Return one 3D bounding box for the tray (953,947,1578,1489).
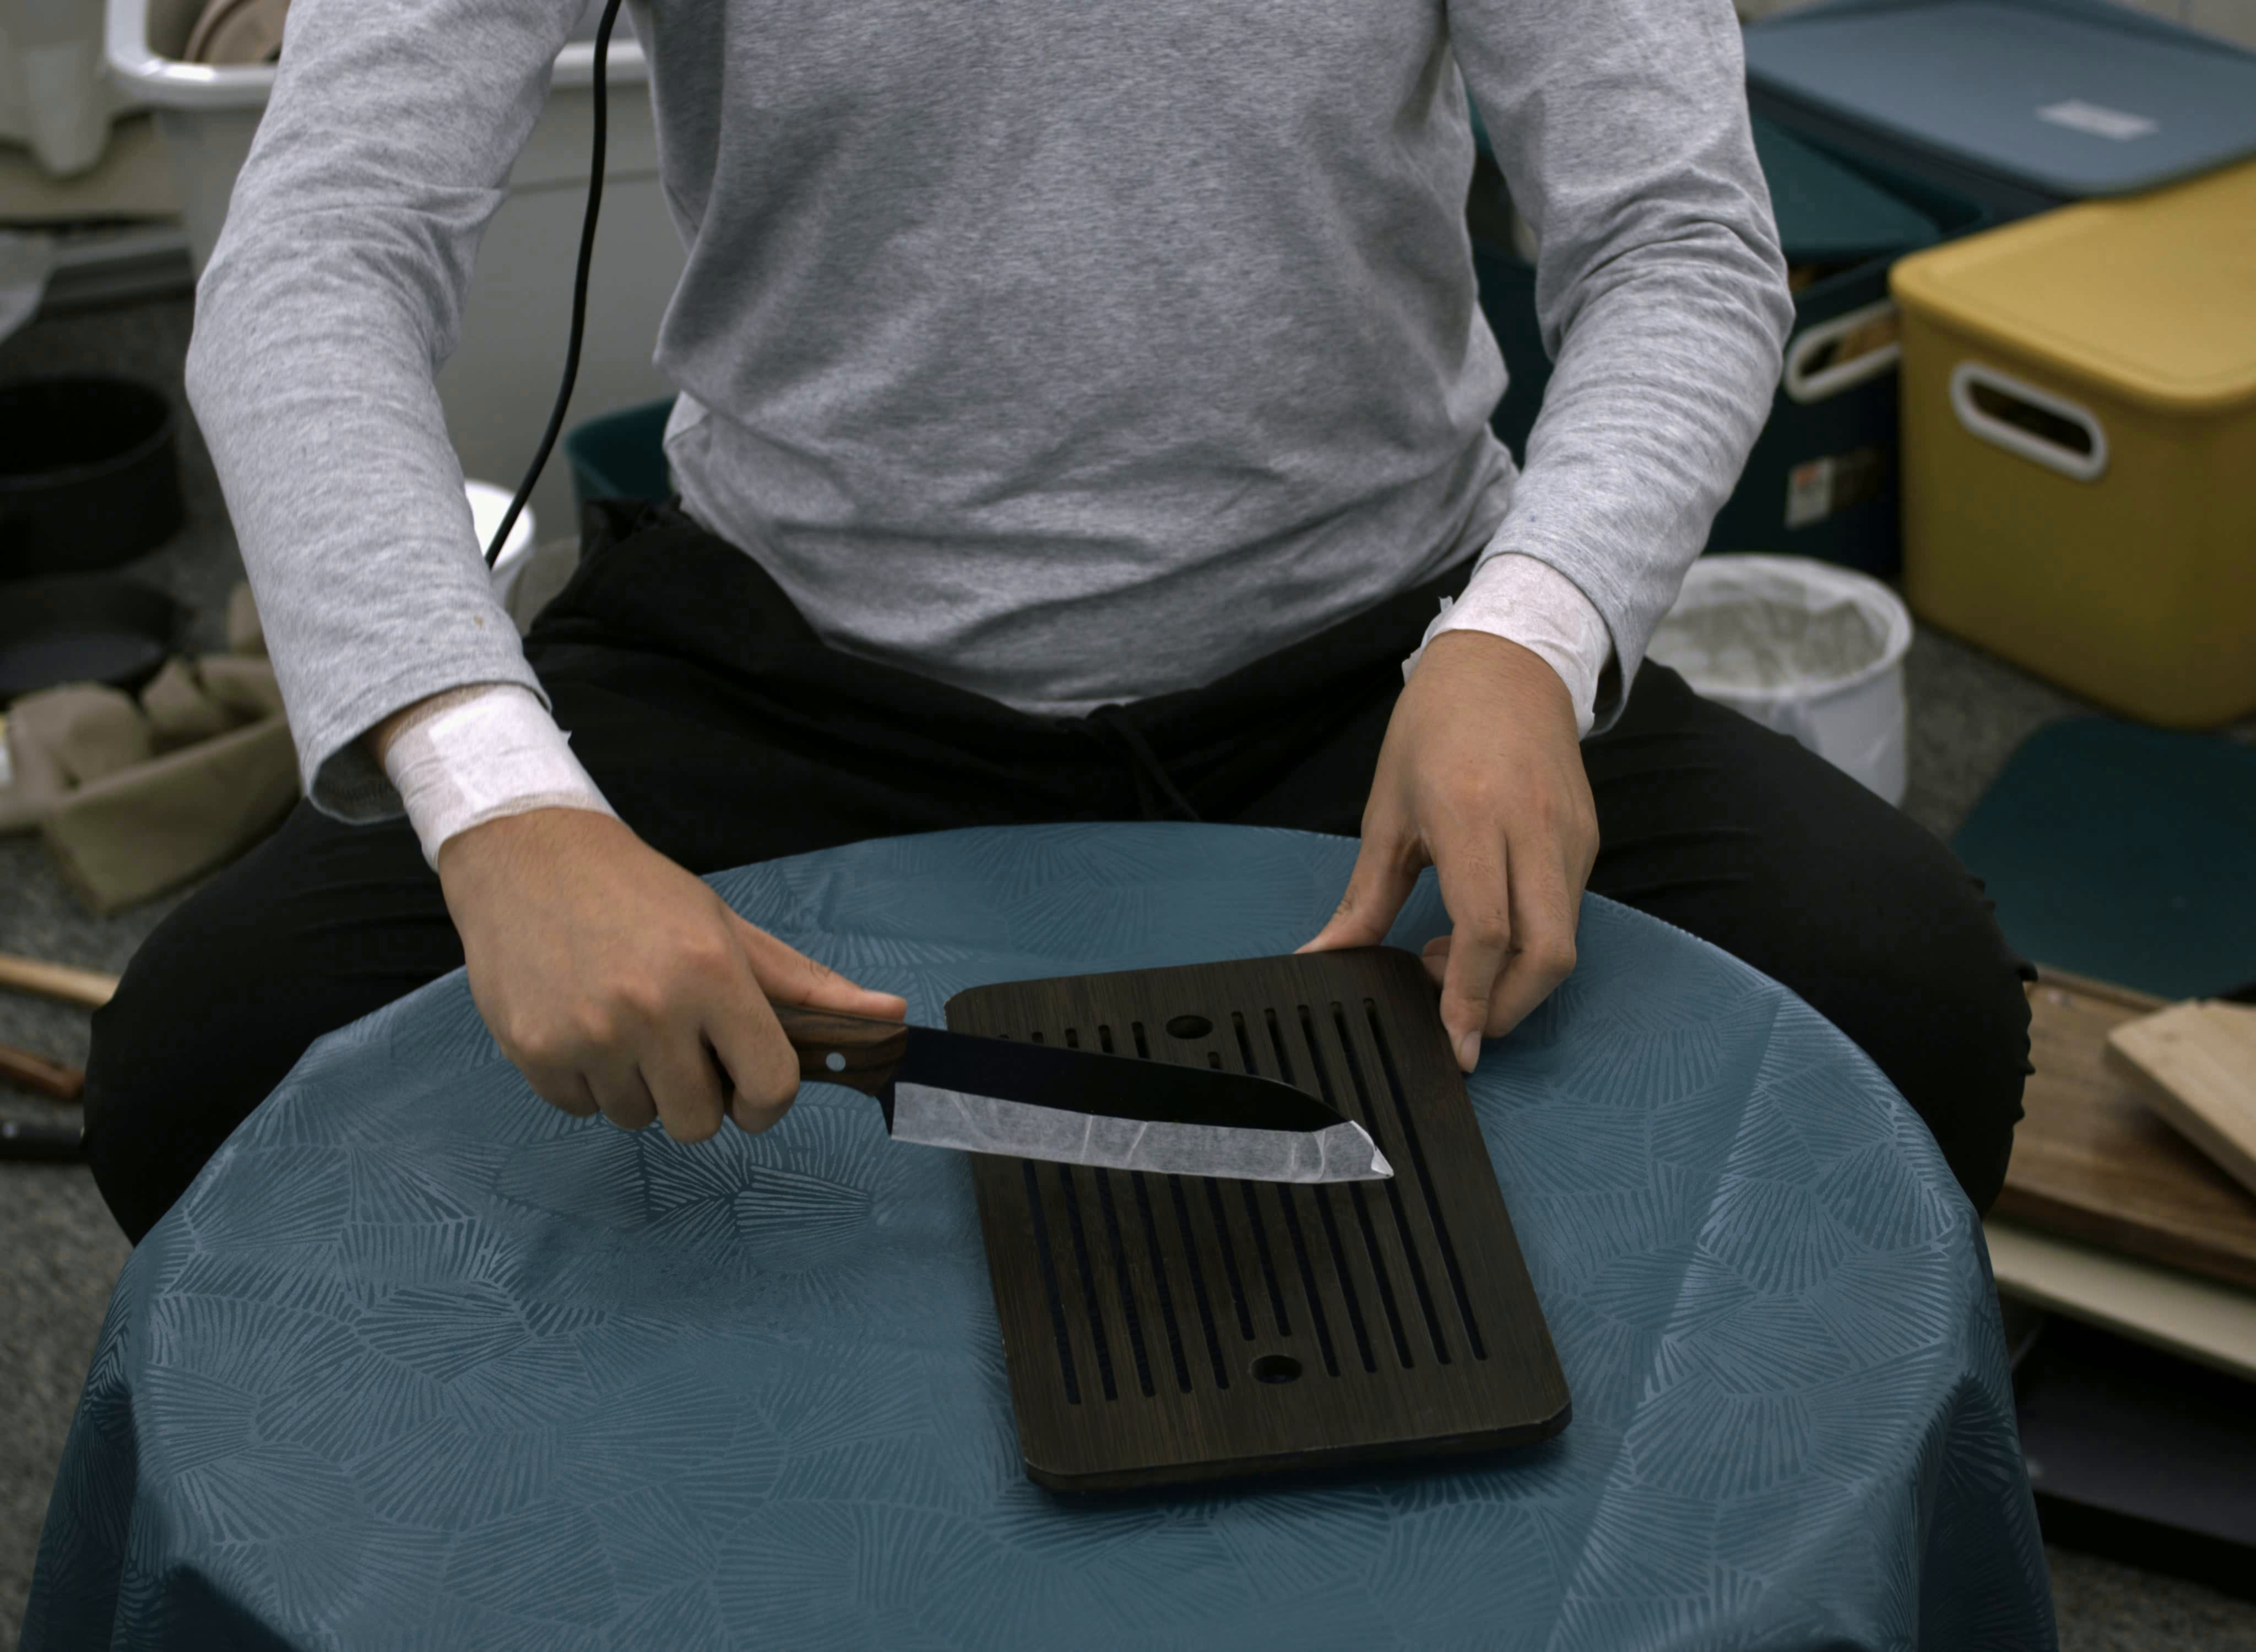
[{"bbox_3d":[0.038,0.125,1.833,0.169,0.018,0.310,-5,27,-4],"label":"tray"}]

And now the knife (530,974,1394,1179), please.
[{"bbox_3d":[-0.055,0.083,1.833,0.288,0.049,0.020,10,29,4],"label":"knife"}]
